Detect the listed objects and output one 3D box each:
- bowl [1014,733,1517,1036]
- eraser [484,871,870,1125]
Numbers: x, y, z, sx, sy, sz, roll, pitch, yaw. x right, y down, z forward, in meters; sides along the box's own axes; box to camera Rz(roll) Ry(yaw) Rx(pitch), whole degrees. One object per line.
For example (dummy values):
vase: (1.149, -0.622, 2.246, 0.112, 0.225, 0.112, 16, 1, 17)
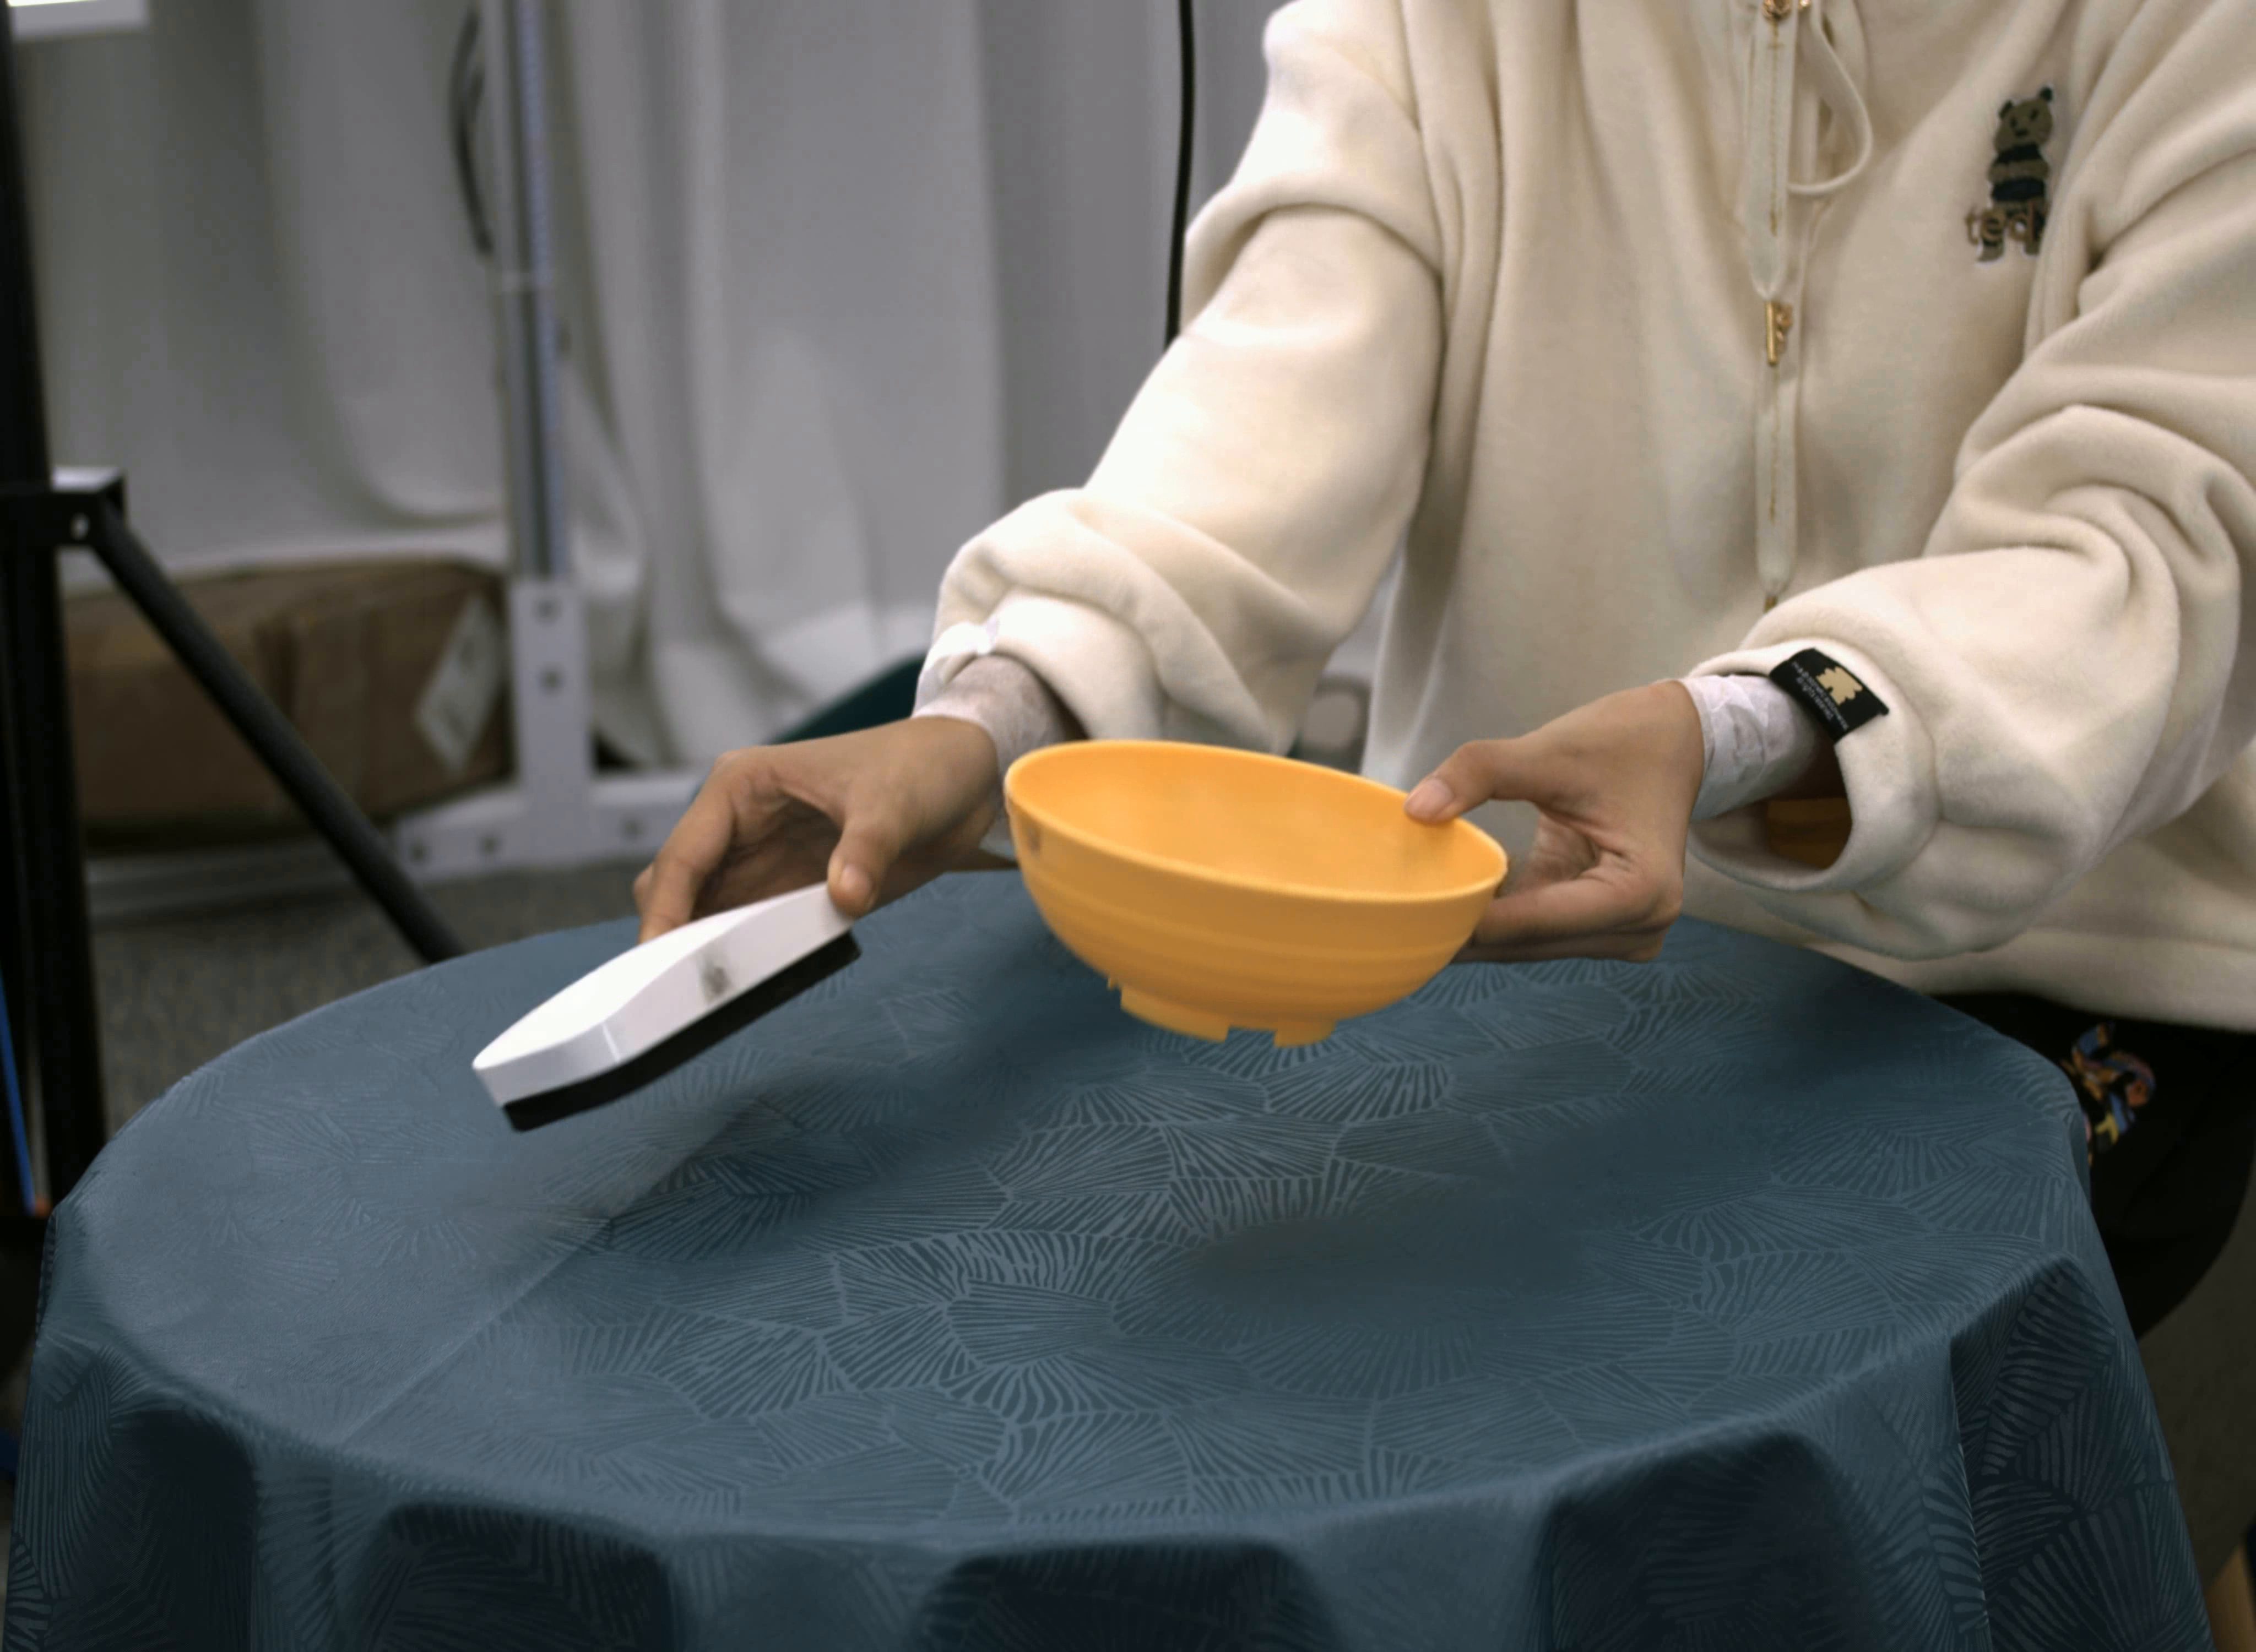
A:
bowl: (0.035, 0.022, 1.511, 0.144, 0.060, 0.146, 8, 16, -4)
eraser: (-0.131, 0.047, 1.570, 0.064, 0.034, 0.129, -23, 6, 39)
